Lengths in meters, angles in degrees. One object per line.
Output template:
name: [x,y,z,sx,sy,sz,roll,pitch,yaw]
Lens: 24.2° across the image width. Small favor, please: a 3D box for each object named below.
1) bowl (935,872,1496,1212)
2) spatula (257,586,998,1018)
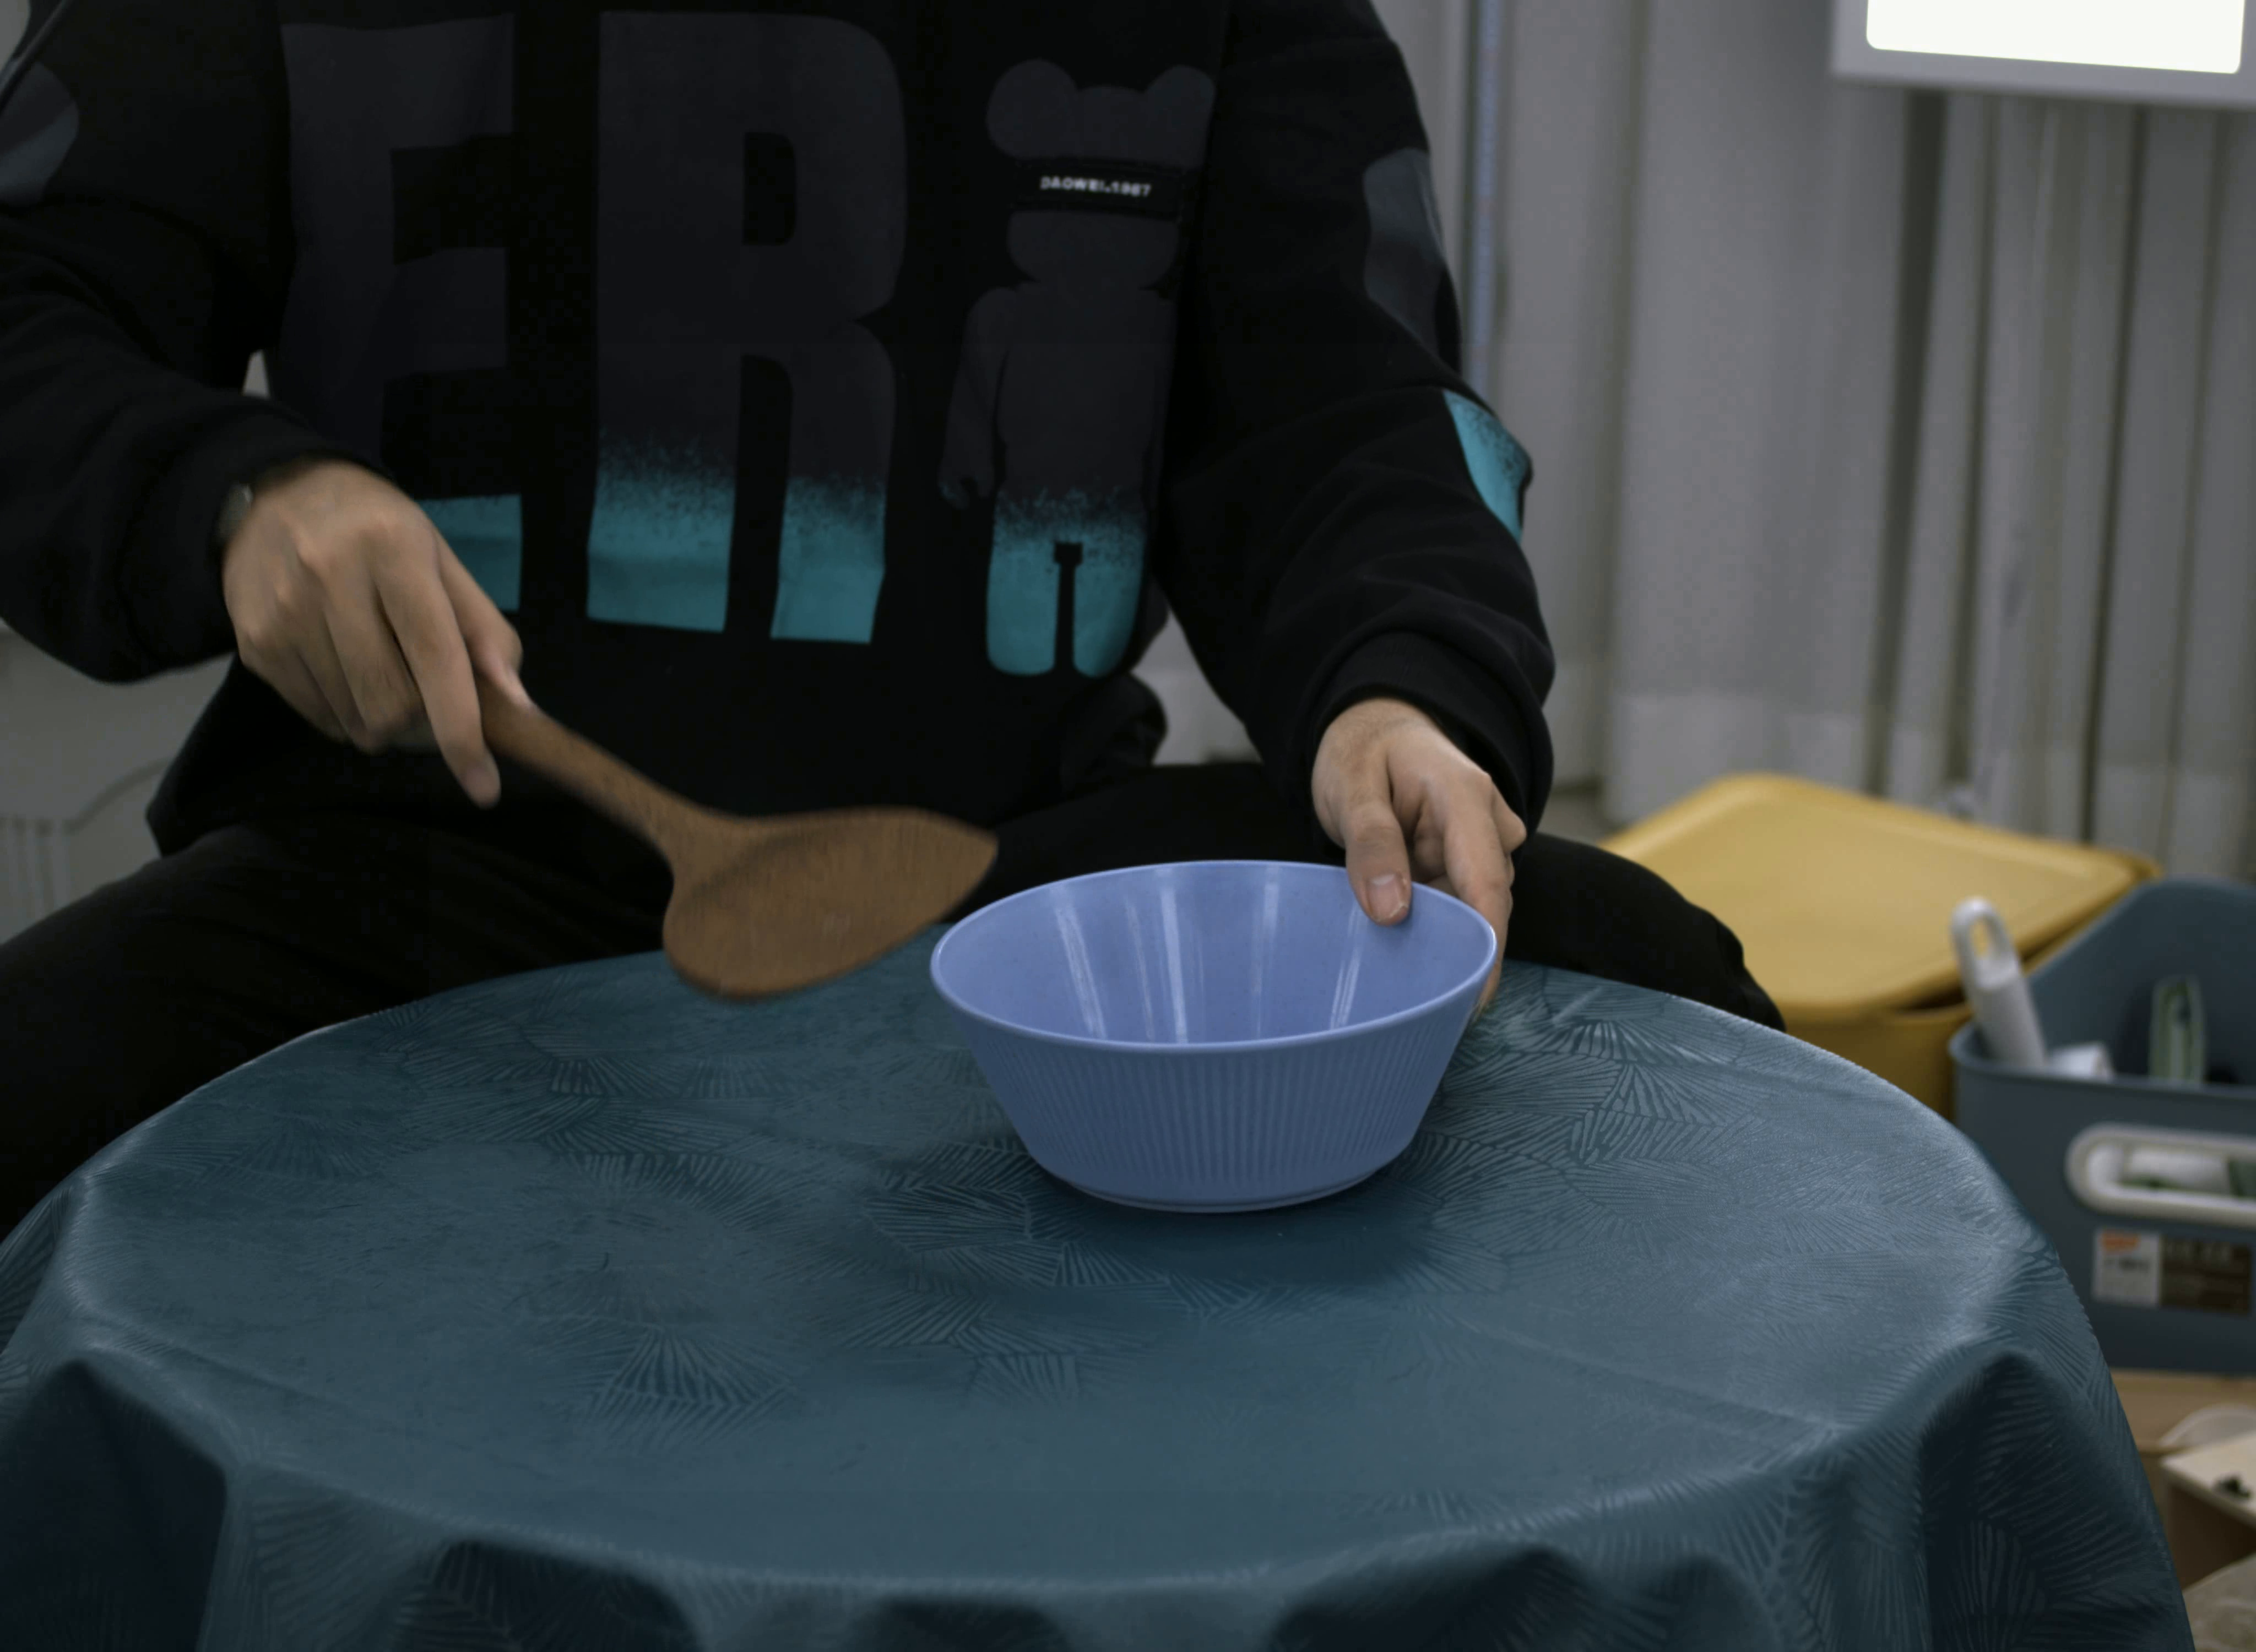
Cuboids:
bowl: [0.028,0.070,1.642,0.175,0.071,0.175,-2,16,1]
spatula: [-0.175,-0.018,1.628,0.096,0.016,0.380,-31,35,-25]
